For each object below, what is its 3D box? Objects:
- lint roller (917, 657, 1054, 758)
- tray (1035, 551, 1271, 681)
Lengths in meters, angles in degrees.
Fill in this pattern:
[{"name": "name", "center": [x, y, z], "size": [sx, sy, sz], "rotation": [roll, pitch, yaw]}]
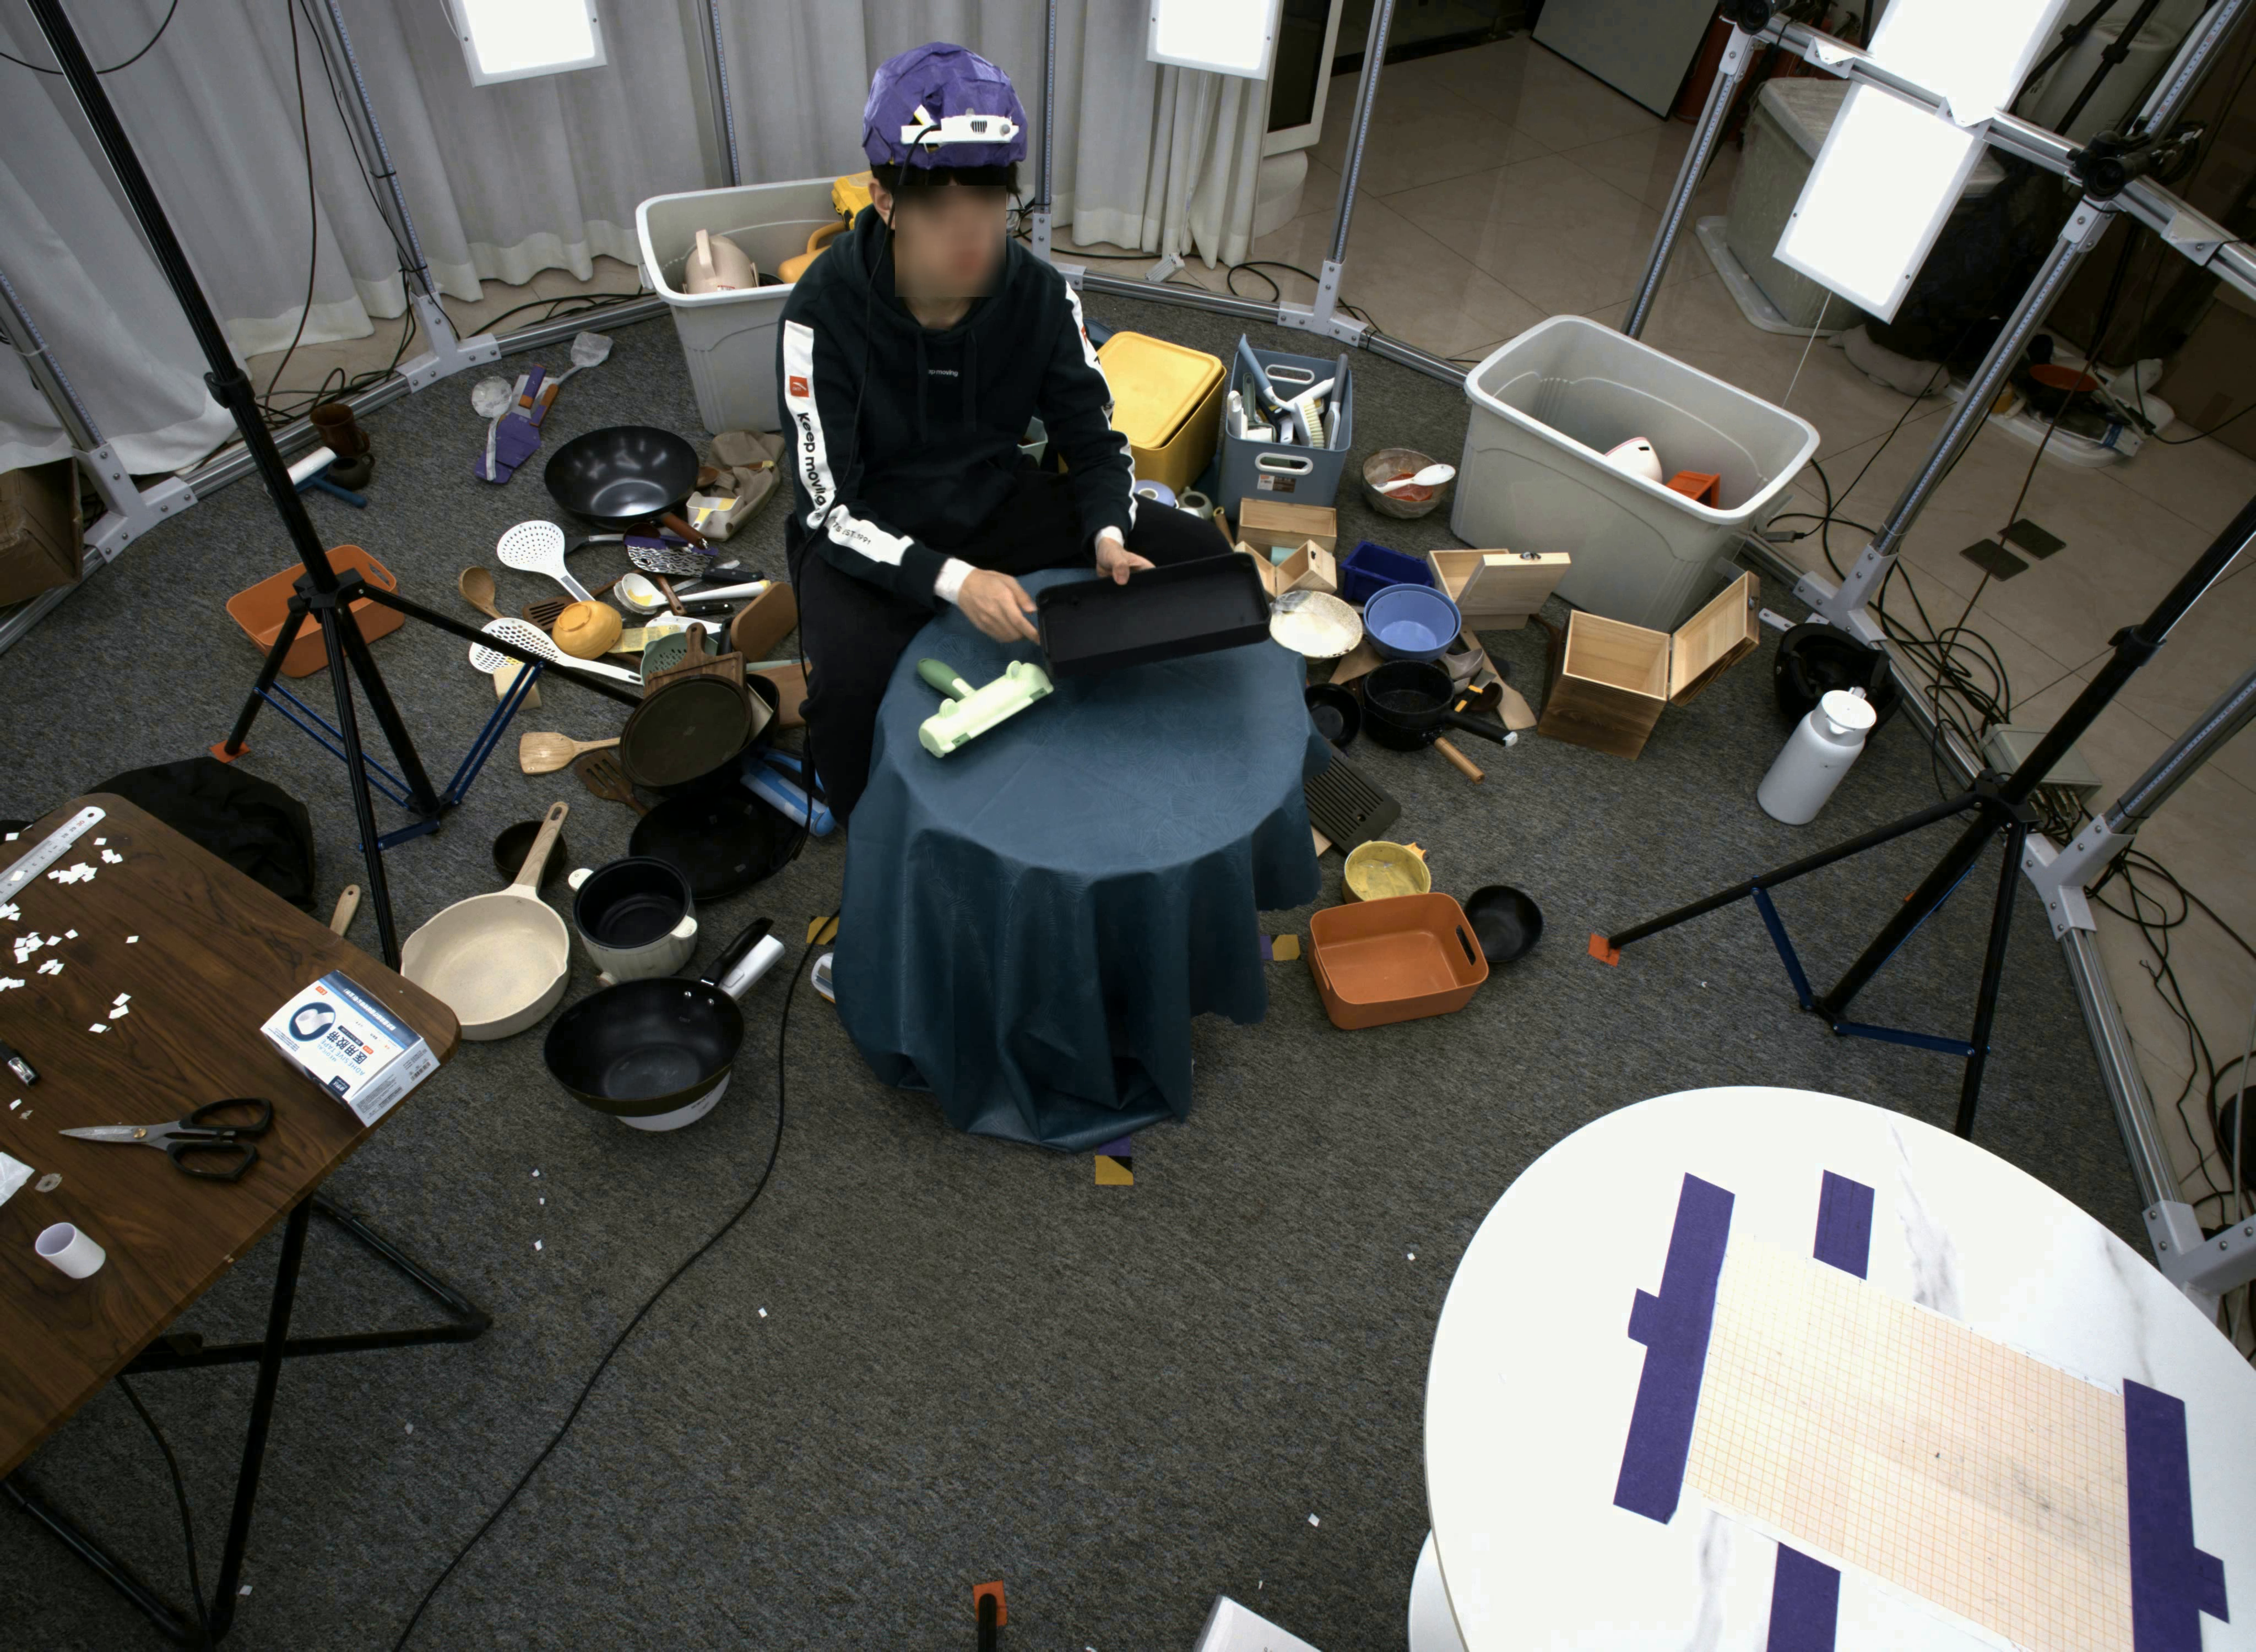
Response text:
[{"name": "lint roller", "center": [-0.231, -0.198, 1.774], "size": [0.200, 0.080, 0.186], "rotation": [-34, 62, -28]}, {"name": "tray", "center": [0.032, -0.296, 1.799], "size": [0.318, 0.036, 0.189], "rotation": [-11, 43, 2]}]
